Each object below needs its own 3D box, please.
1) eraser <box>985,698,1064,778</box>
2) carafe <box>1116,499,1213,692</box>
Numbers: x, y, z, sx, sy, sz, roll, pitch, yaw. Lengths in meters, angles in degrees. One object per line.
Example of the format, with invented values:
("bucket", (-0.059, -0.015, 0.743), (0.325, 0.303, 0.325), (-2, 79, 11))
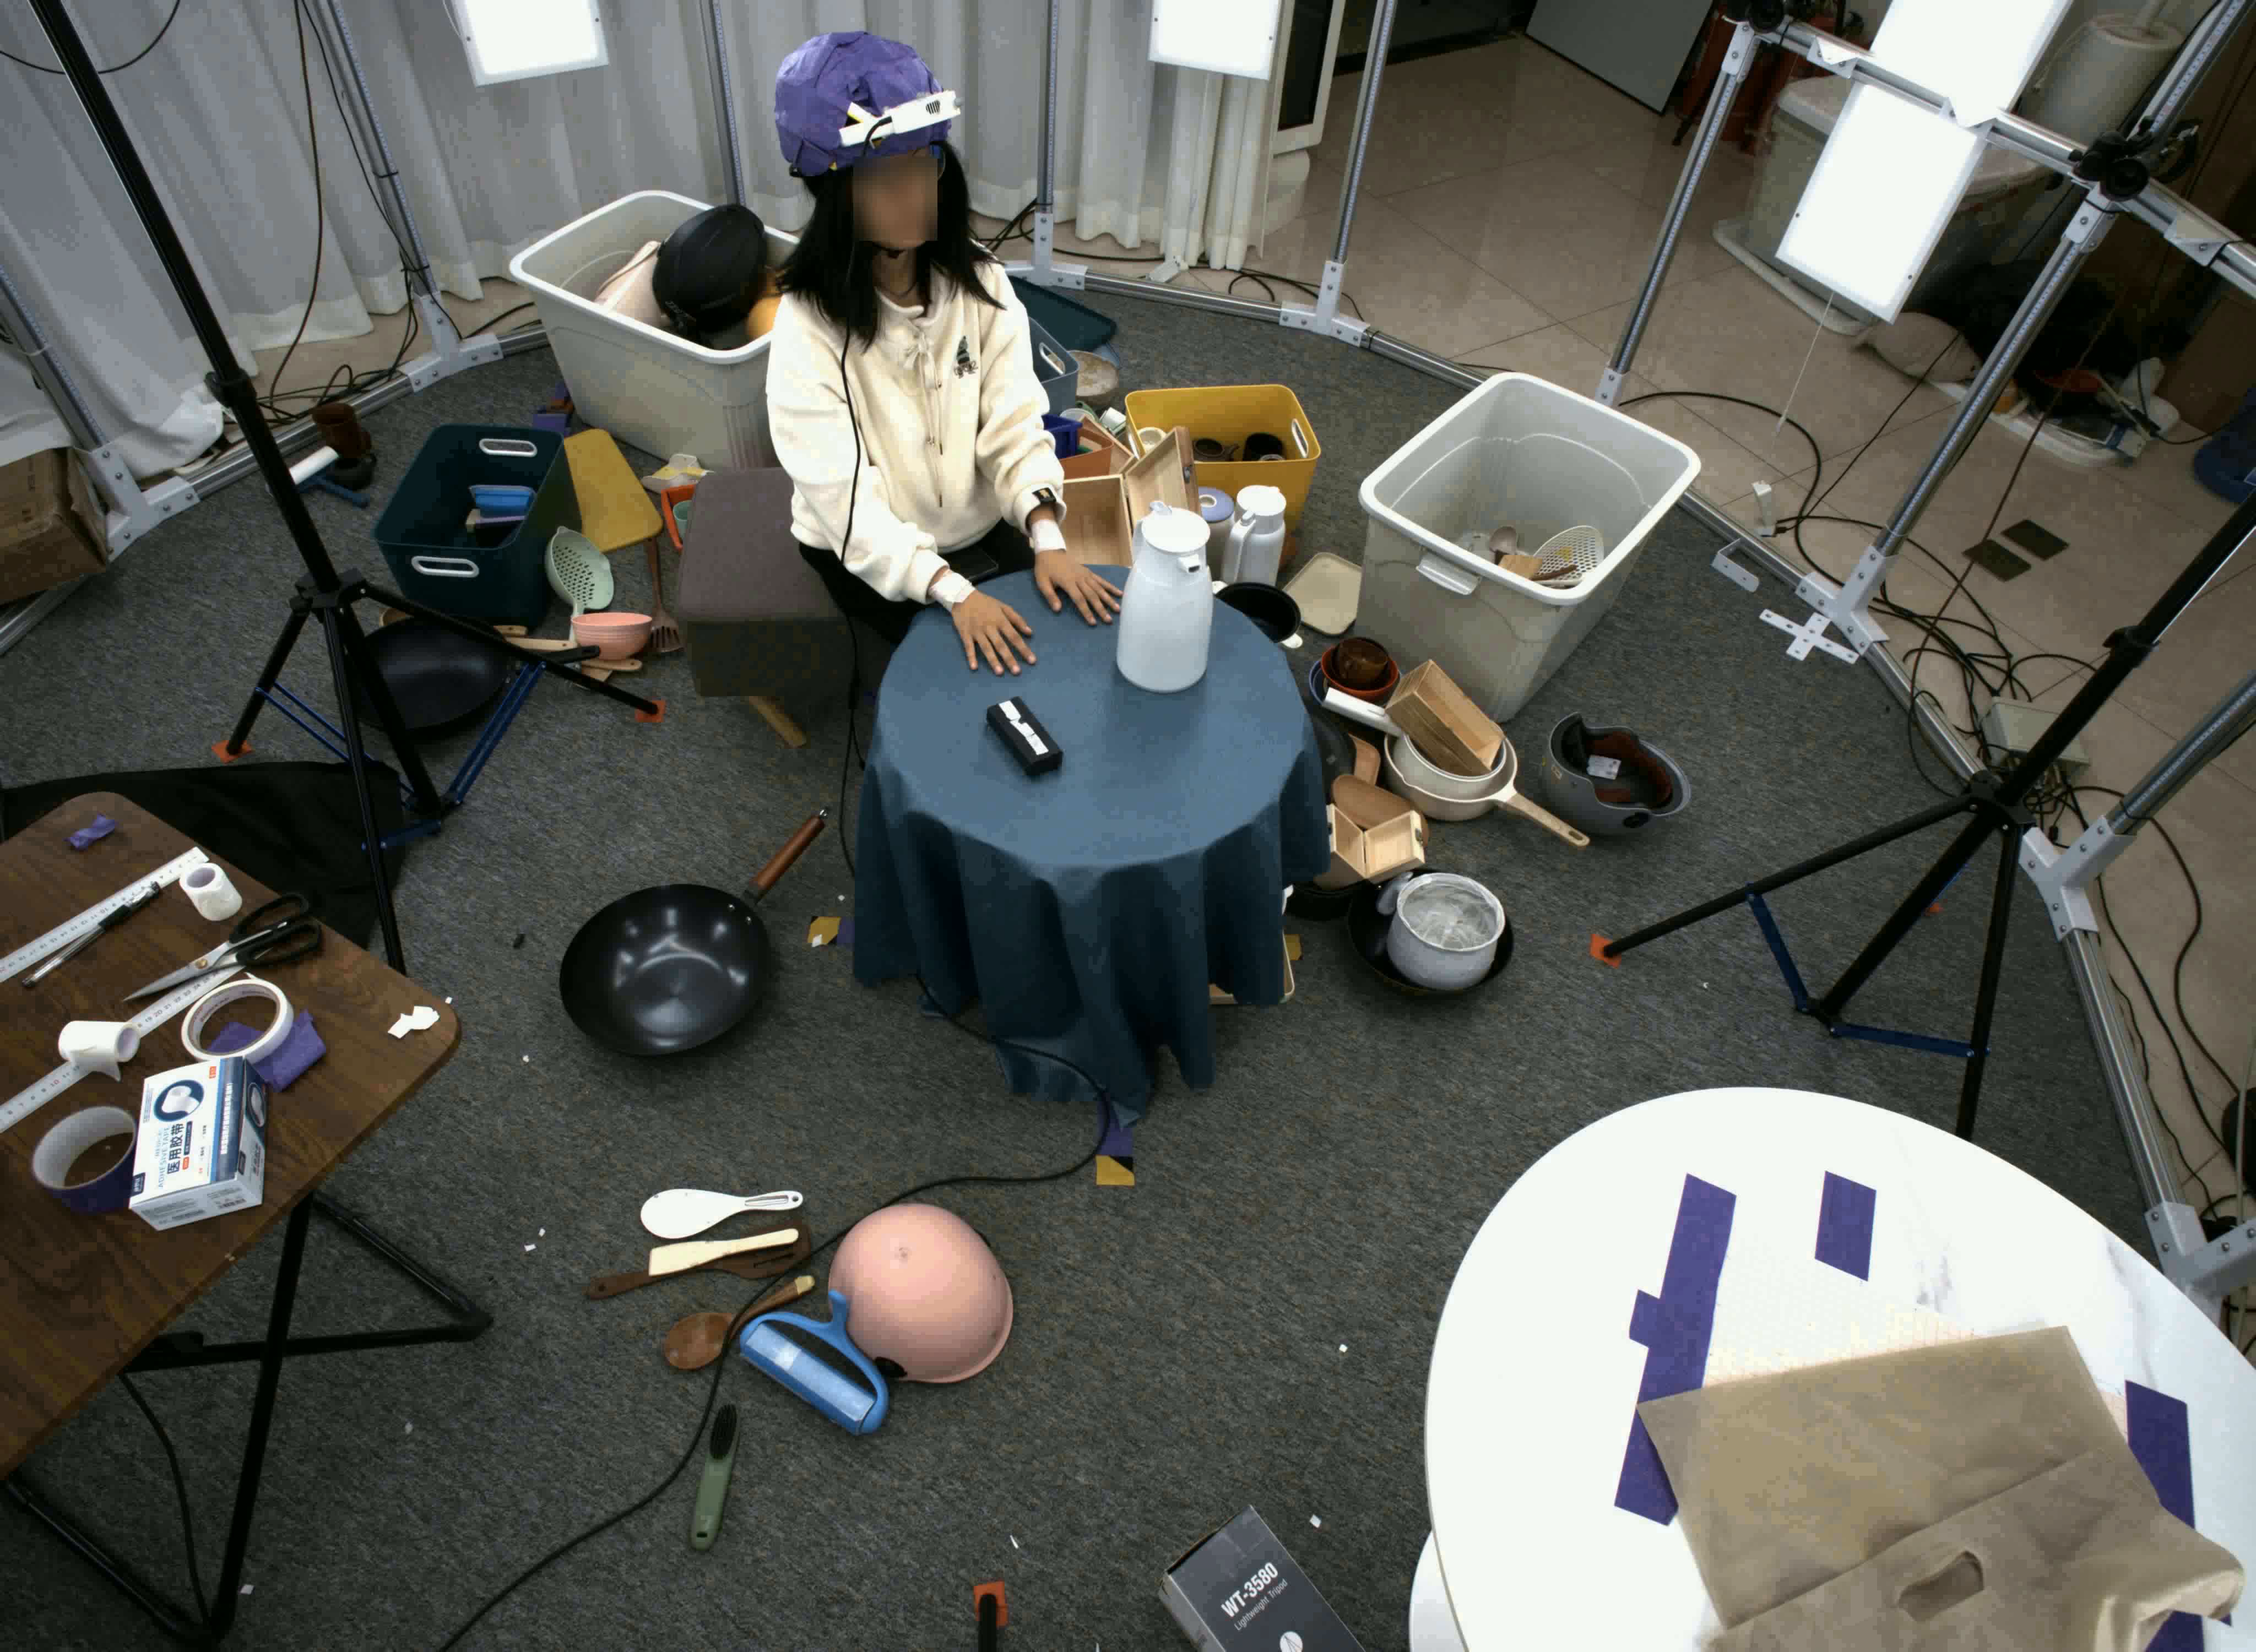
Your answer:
("eraser", (-0.141, -0.121, 1.747), (0.054, 0.030, 0.128), (-23, 54, -25))
("carafe", (0.047, -0.333, 1.802), (0.133, 0.242, 0.171), (-17, 52, -18))
